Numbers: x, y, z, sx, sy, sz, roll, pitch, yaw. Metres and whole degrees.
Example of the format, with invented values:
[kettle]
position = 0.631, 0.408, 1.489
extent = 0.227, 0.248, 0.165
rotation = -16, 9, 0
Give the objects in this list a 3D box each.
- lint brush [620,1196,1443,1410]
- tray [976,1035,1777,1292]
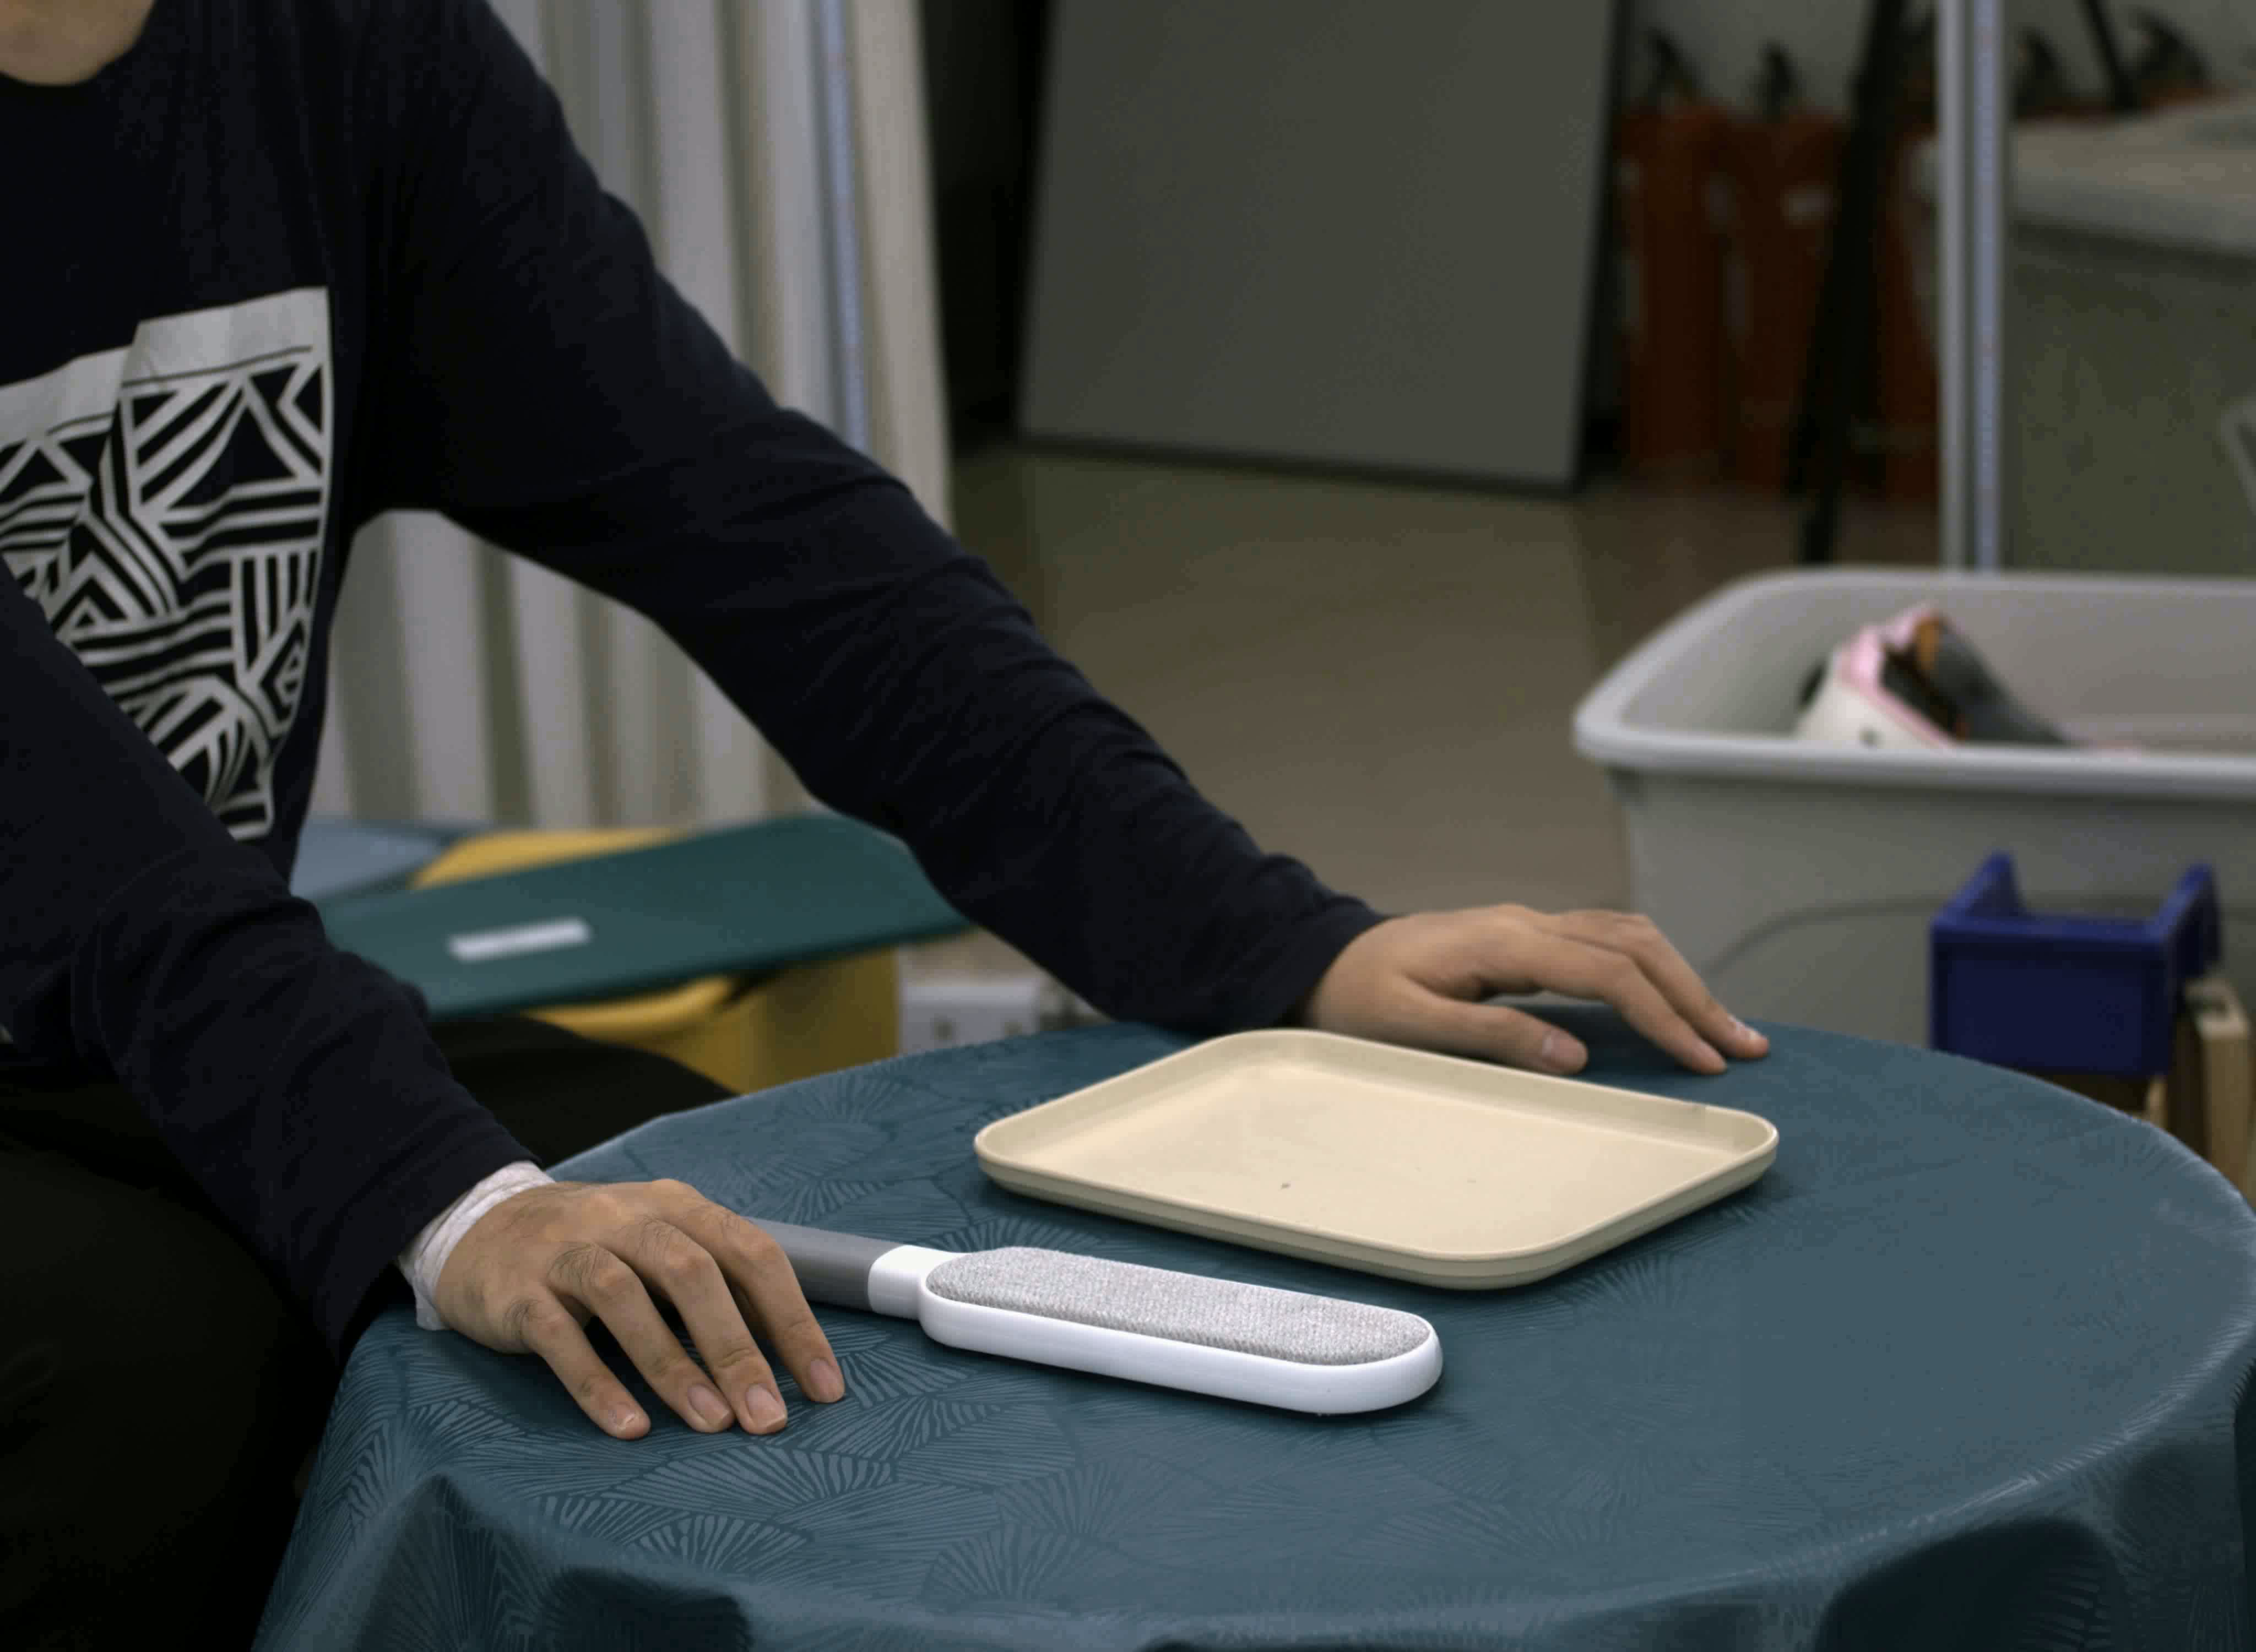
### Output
[lint brush]
position = -0.036, 0.142, 1.644
extent = 0.311, 0.021, 0.059
rotation = 6, 22, 37
[tray]
position = 0.080, 0.109, 1.764
extent = 0.242, 0.017, 0.168
rotation = 8, 19, 42
